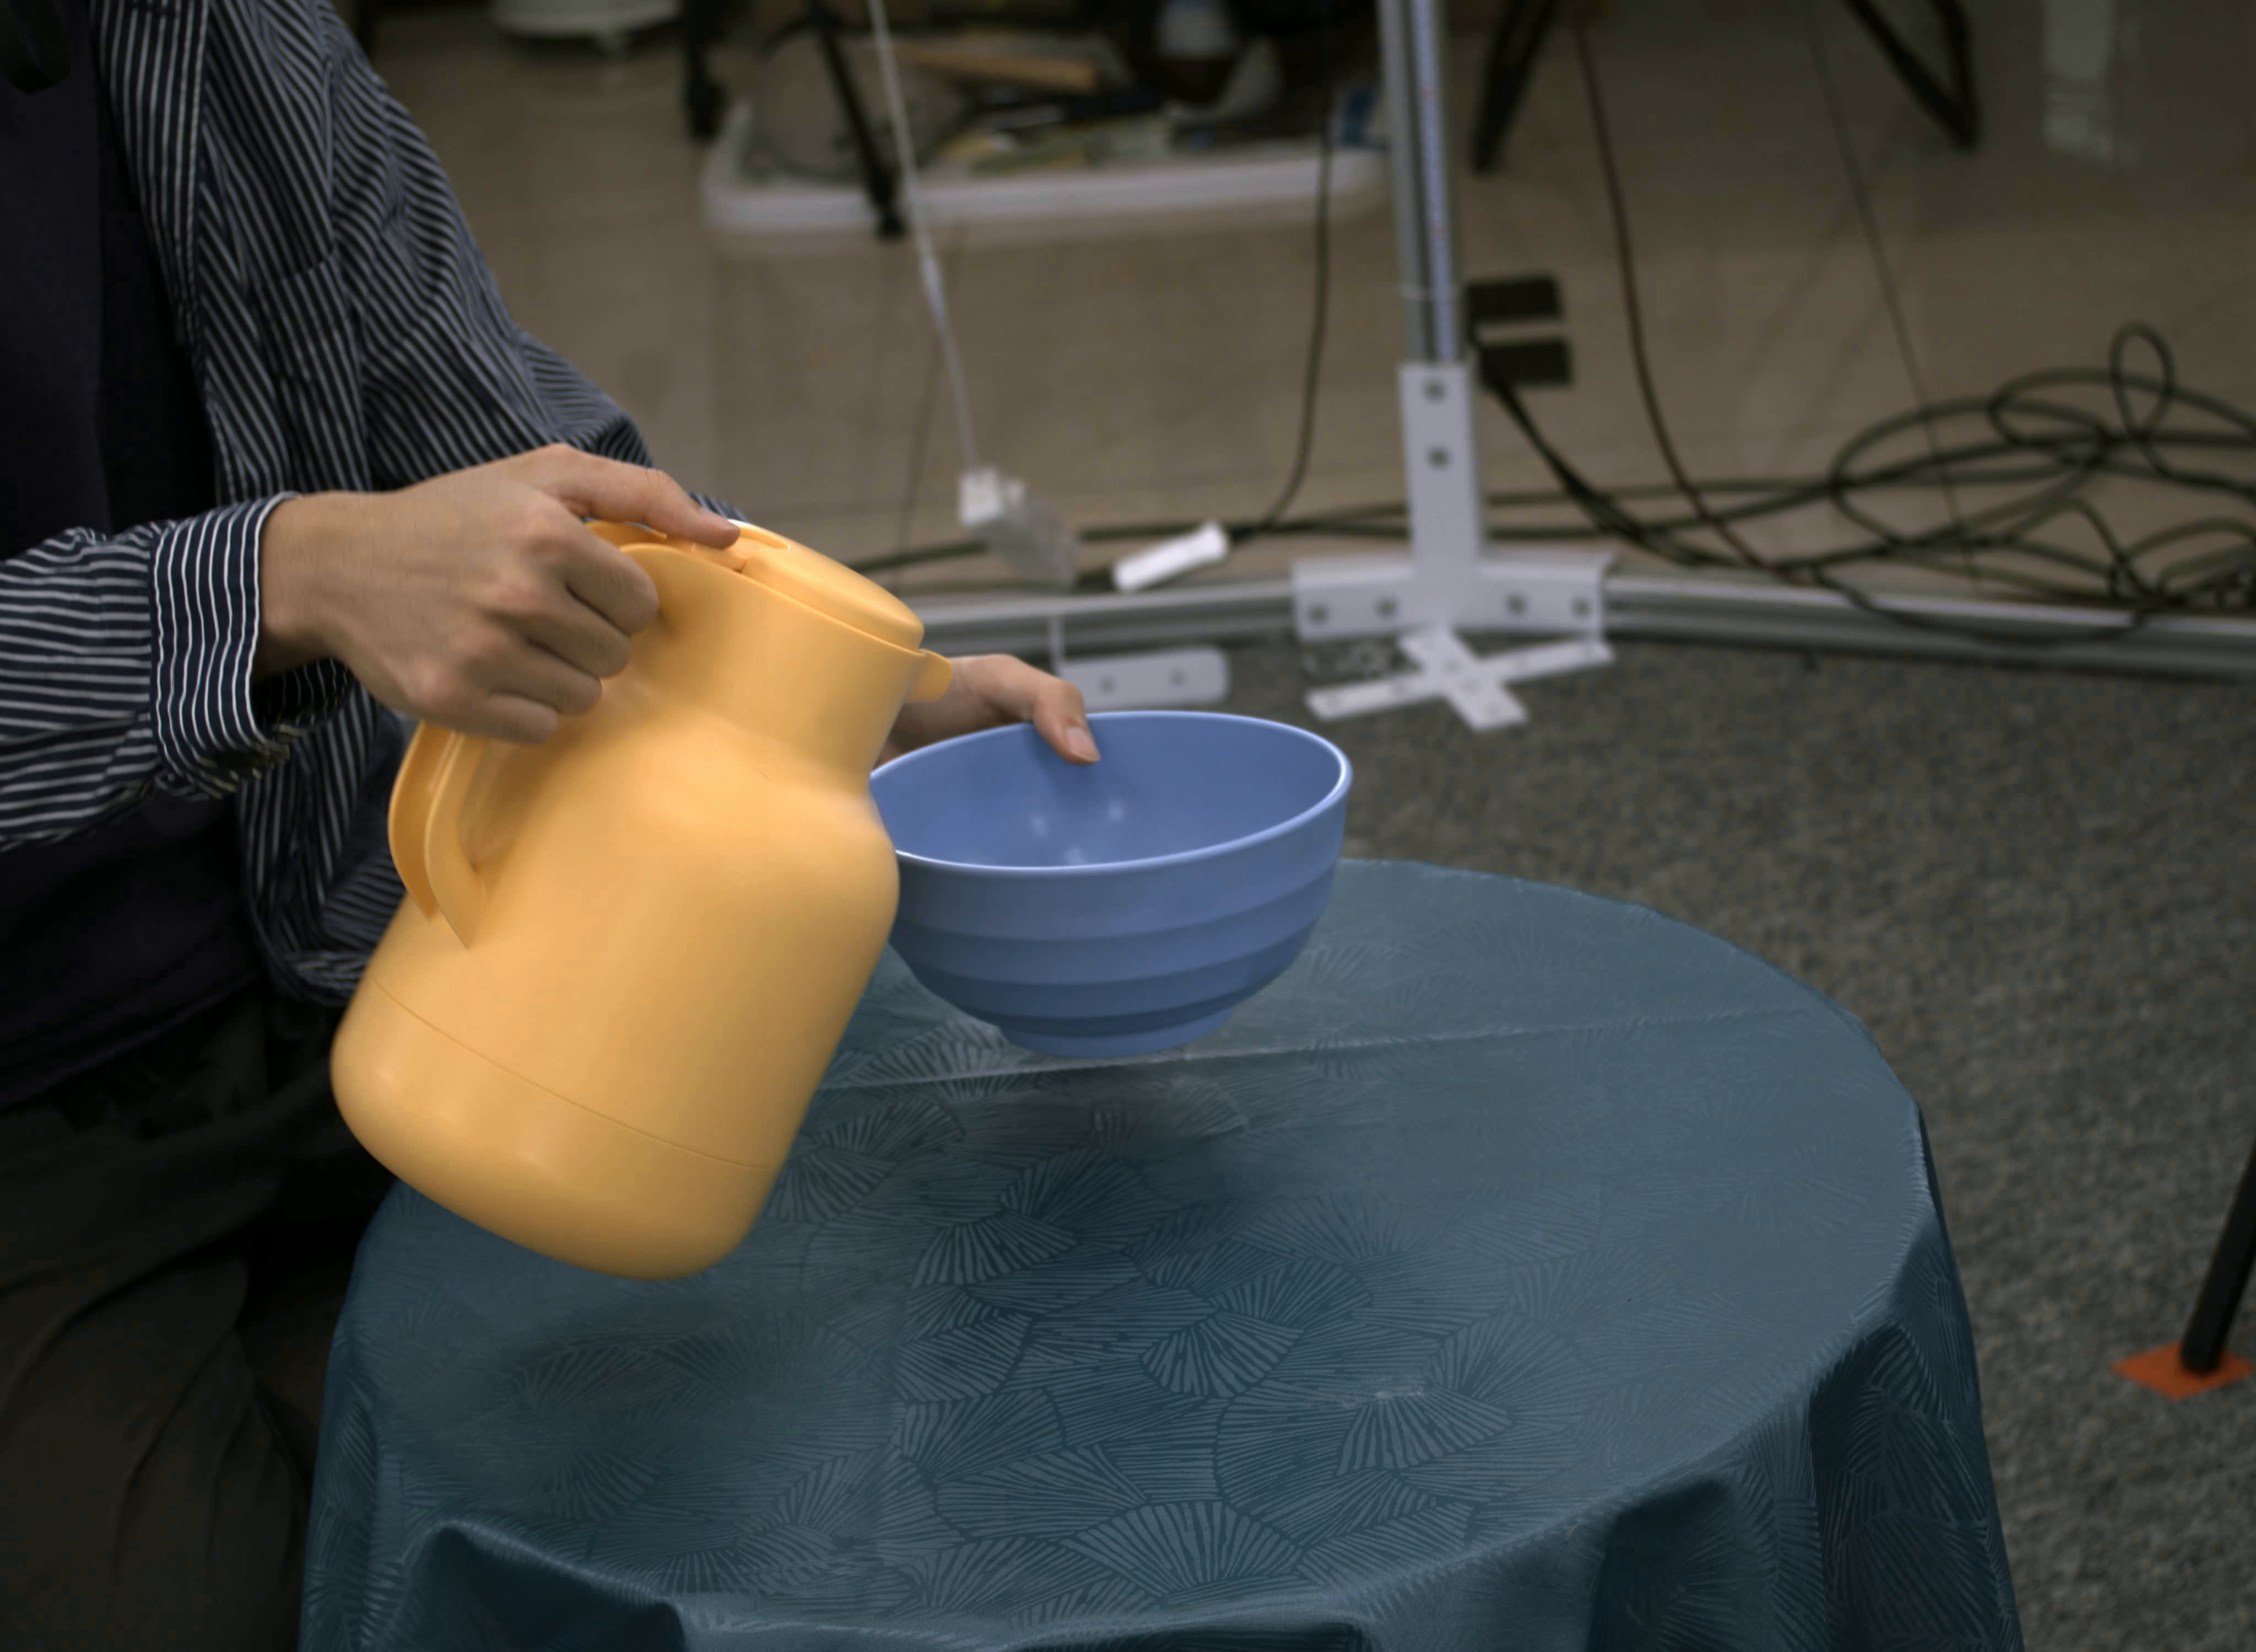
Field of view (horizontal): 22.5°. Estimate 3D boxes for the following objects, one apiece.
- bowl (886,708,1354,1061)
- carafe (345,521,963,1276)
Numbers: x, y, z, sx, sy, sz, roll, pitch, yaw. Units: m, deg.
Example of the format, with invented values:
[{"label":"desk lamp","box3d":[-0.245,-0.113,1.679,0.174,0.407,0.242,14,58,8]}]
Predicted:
[{"label":"bowl","box3d":[-0.008,0.030,2.172,0.196,0.097,0.194,-5,19,2]},{"label":"carafe","box3d":[-0.176,0.015,2.011,0.203,0.262,0.161,19,10,-46]}]
